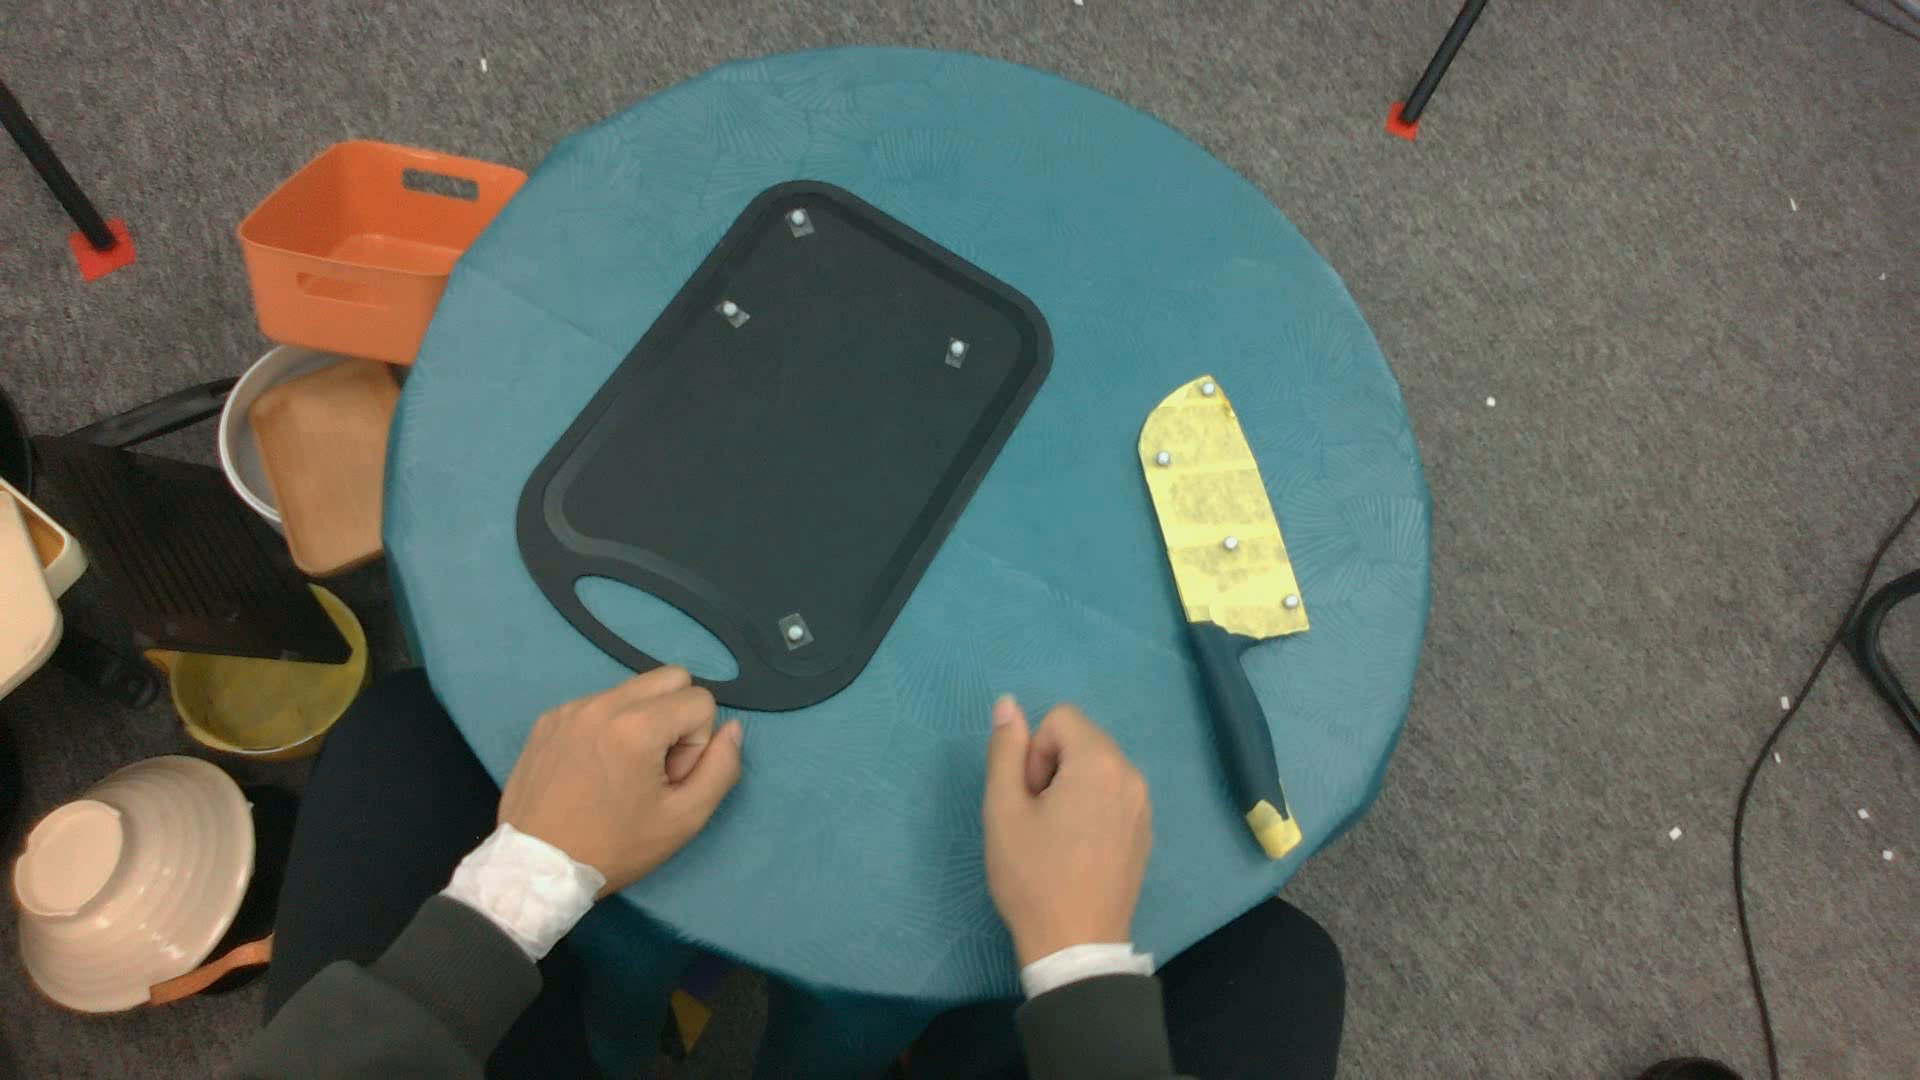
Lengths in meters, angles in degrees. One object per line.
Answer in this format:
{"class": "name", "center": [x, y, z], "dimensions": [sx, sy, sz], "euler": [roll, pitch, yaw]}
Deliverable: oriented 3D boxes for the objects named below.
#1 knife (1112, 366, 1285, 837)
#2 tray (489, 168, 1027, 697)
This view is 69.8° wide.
{"class": "knife", "center": [0.146, 0.025, 0.791], "dimensions": [0.081, 0.027, 0.290], "euler": [-5, 68, -13]}
{"class": "tray", "center": [-0.108, -0.068, 0.781], "dimensions": [0.211, 0.010, 0.327], "euler": [31, 65, 2]}
